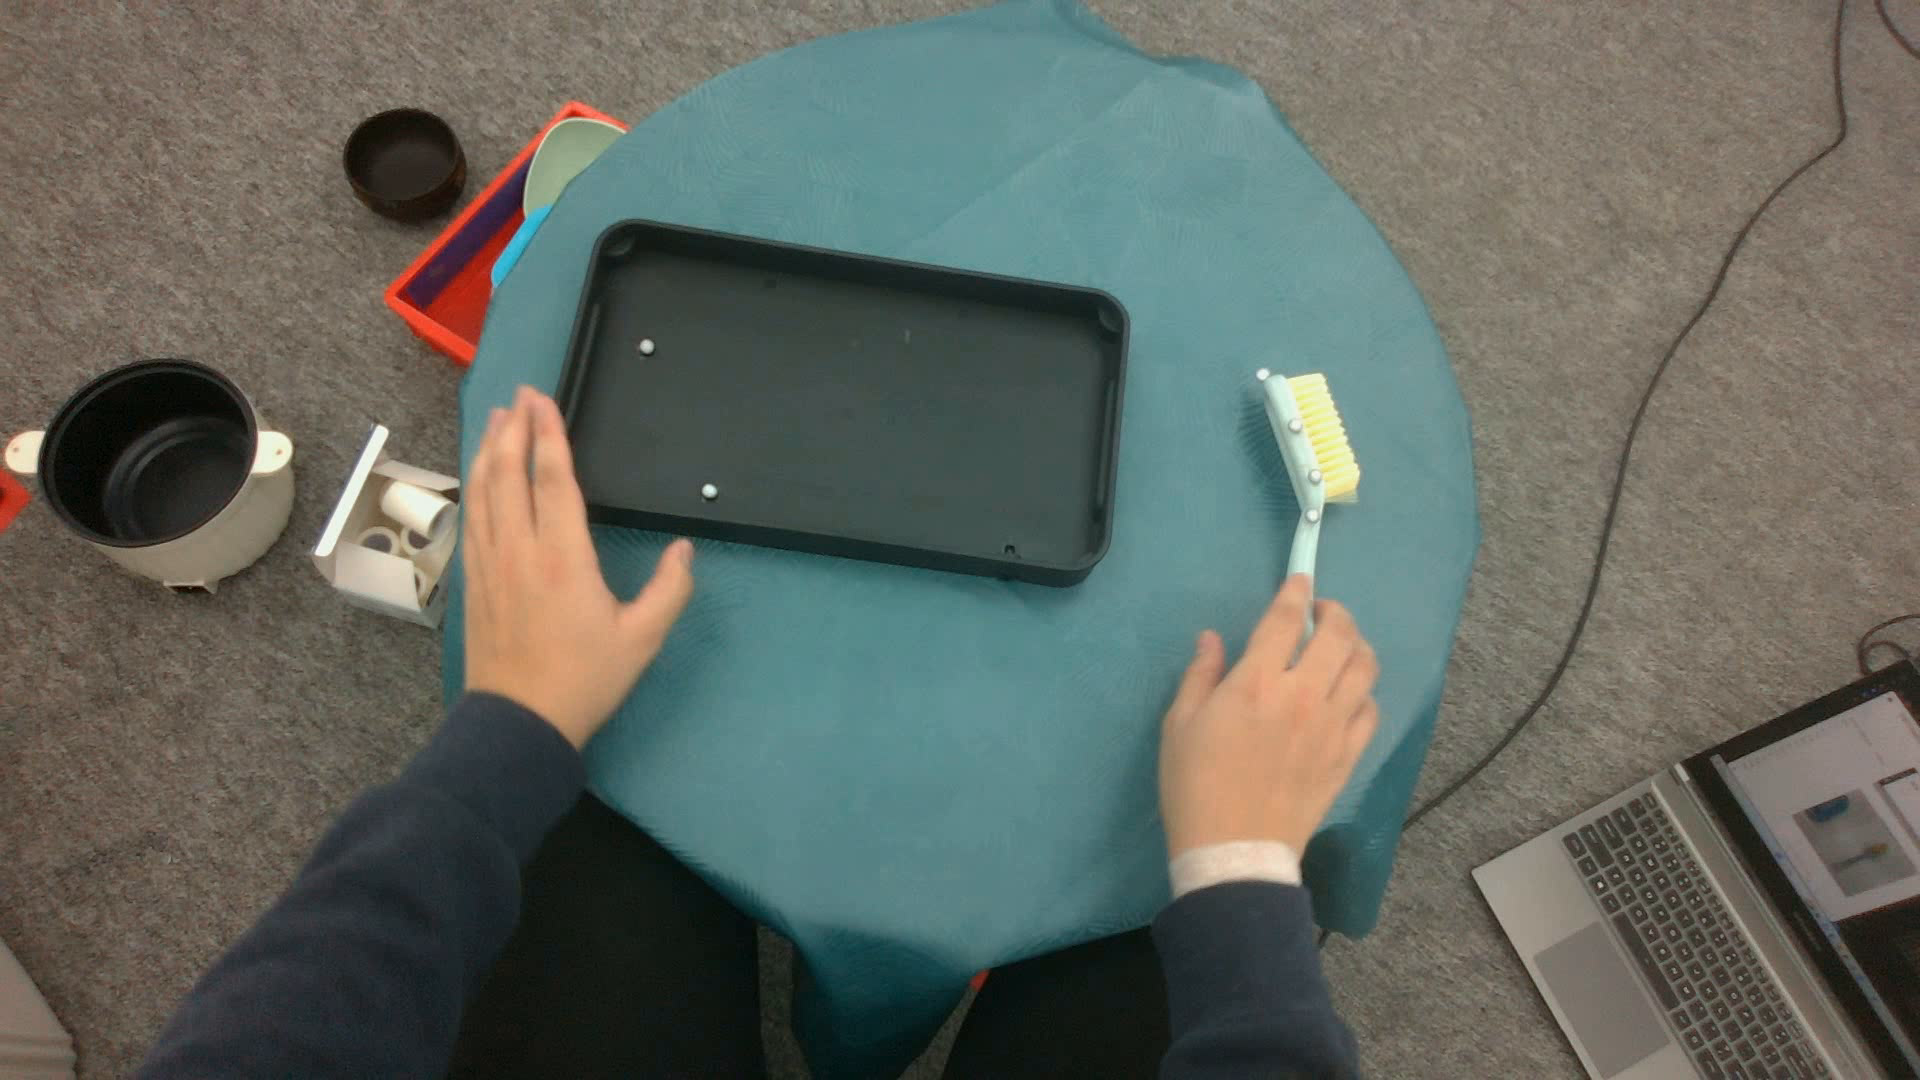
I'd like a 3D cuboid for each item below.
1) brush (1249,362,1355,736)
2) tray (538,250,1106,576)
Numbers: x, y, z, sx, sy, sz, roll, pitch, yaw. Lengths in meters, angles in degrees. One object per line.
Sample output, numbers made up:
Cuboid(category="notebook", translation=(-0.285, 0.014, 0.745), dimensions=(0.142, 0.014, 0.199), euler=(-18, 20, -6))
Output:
Cuboid(category="brush", translation=(0.208, -0.001, 0.795), dimensions=(0.049, 0.037, 0.229), euler=(-6, 67, 3))
Cuboid(category="tray", translation=(-0.074, -0.075, 0.811), dimensions=(0.318, 0.037, 0.185), euler=(4, 68, -2))
